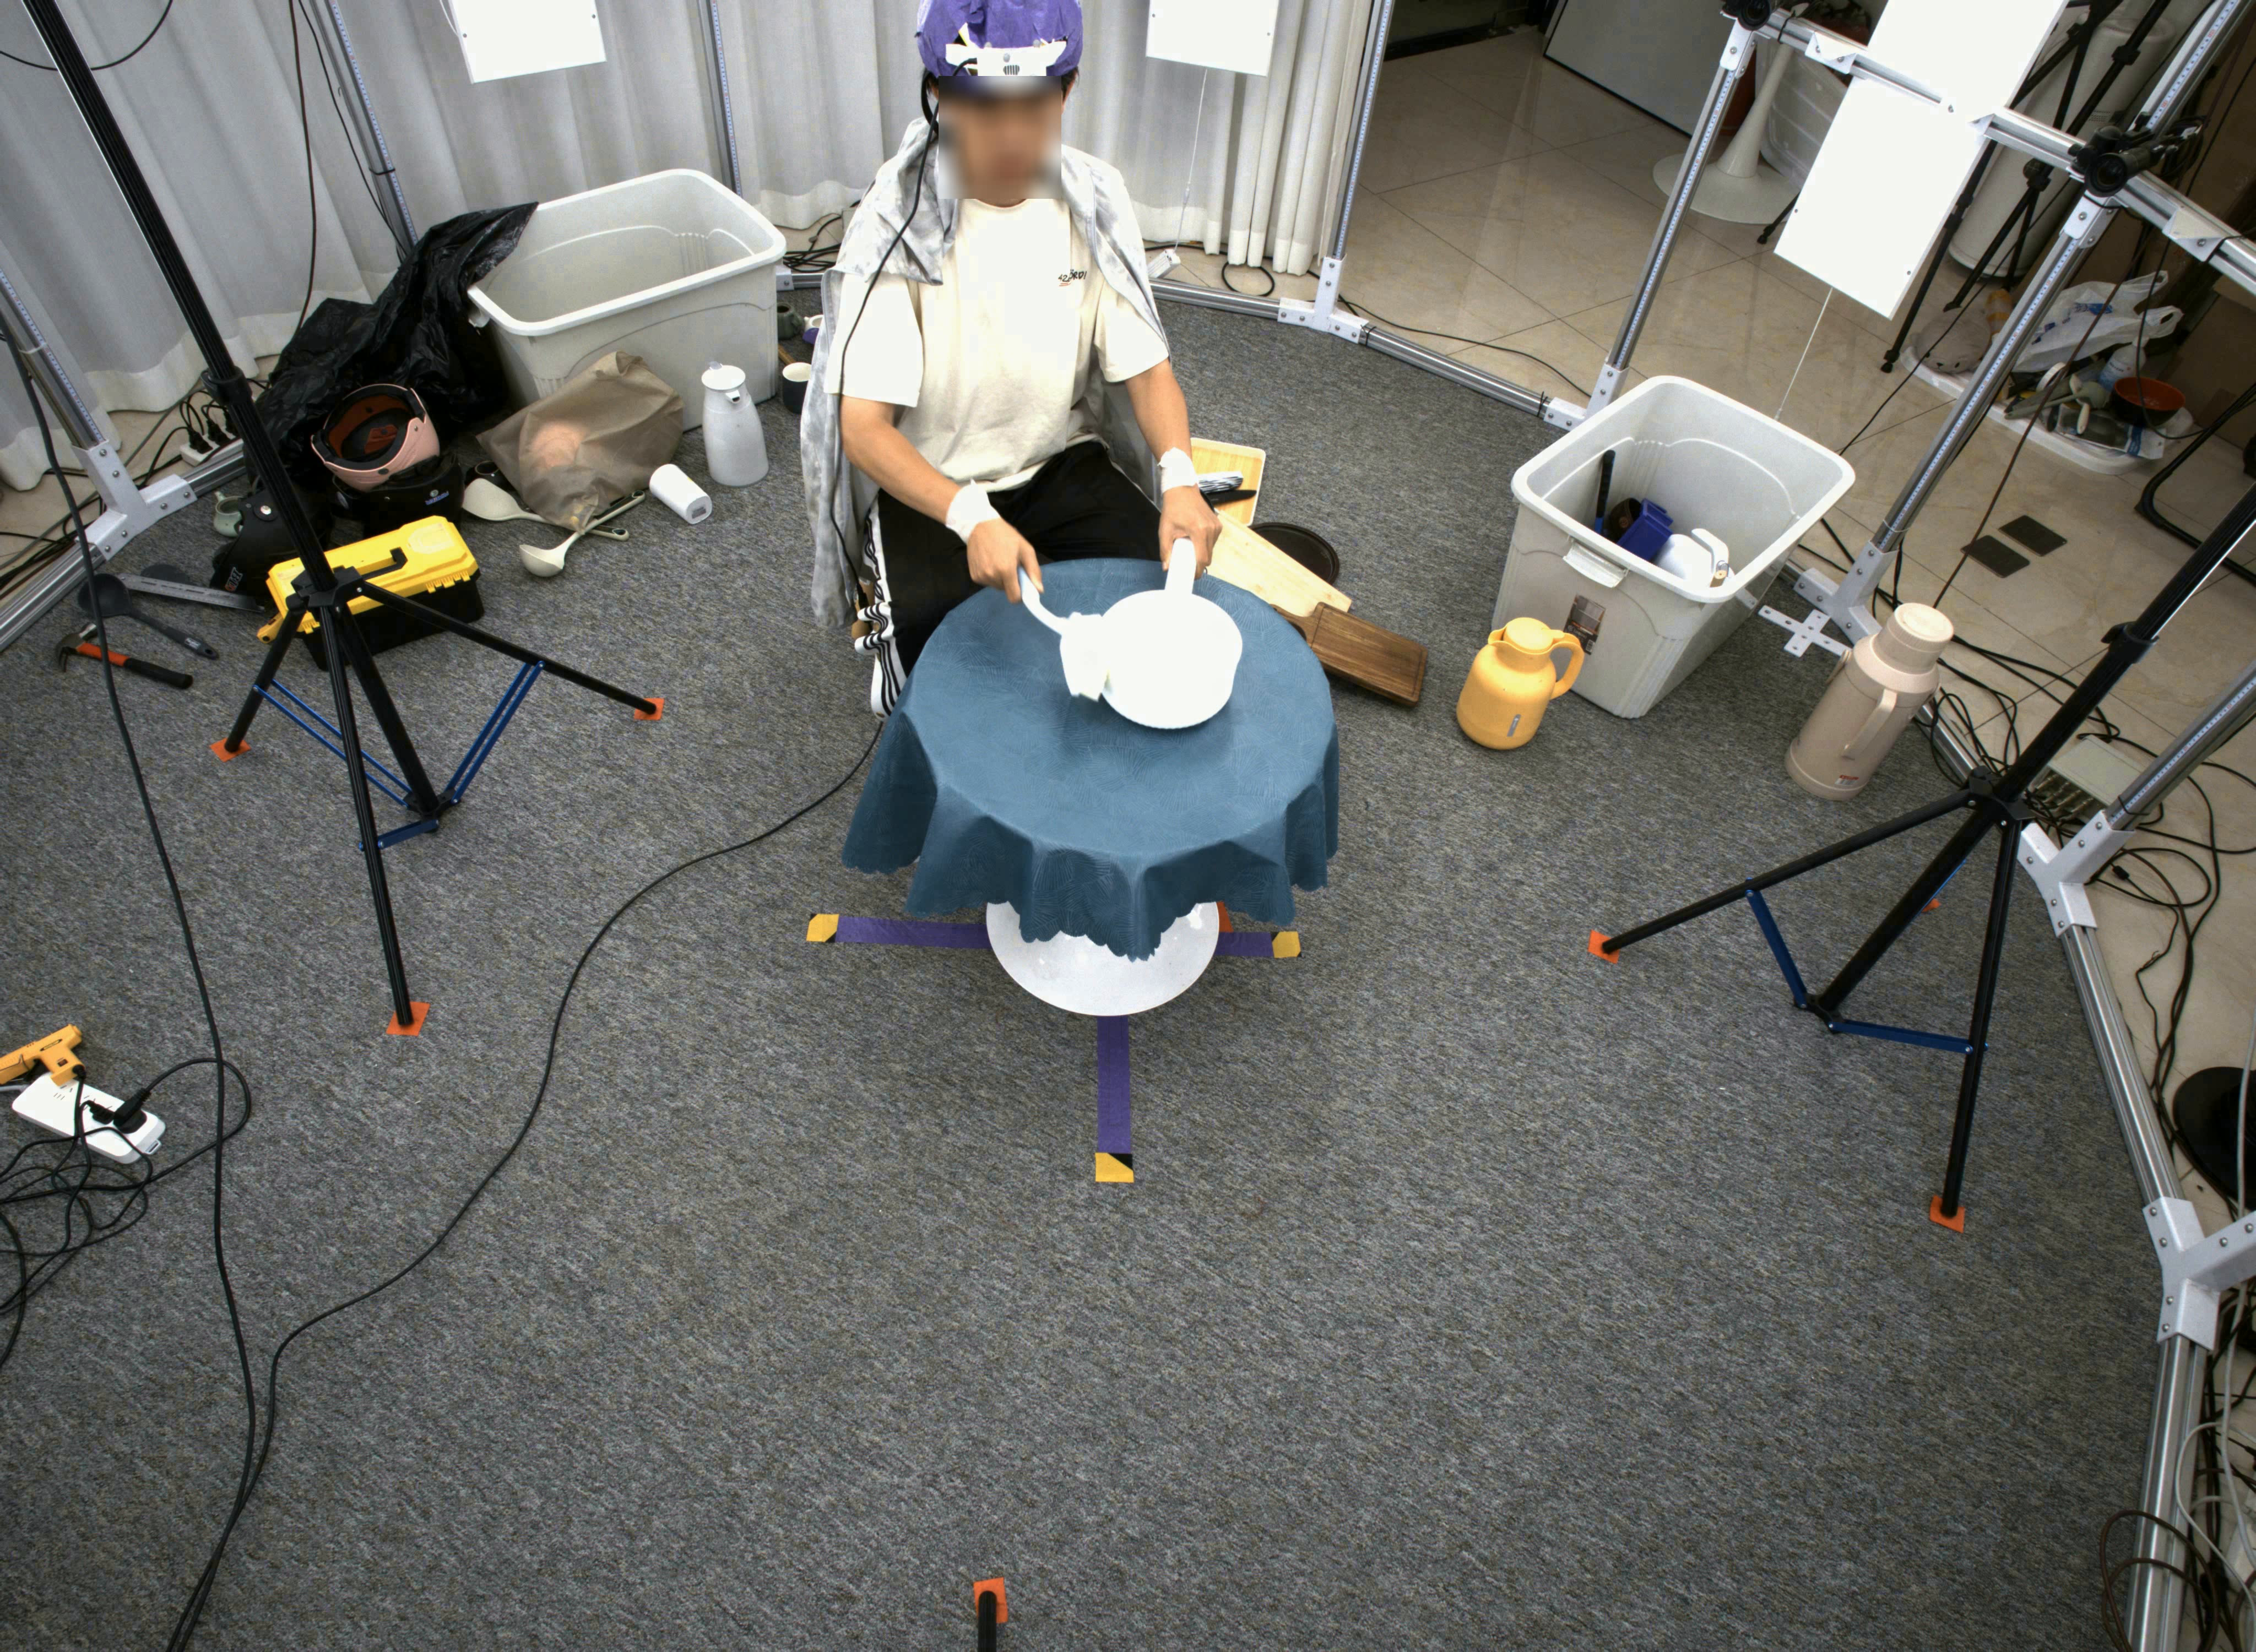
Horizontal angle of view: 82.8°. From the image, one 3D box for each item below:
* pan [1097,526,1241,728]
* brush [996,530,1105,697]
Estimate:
[{"bbox_3d":[0.065,-0.287,1.851,0.201,0.099,0.363,8,48,3],"label":"pan"},{"bbox_3d":[-0.094,-0.307,1.805,0.082,0.083,0.333,-34,55,14],"label":"brush"}]
